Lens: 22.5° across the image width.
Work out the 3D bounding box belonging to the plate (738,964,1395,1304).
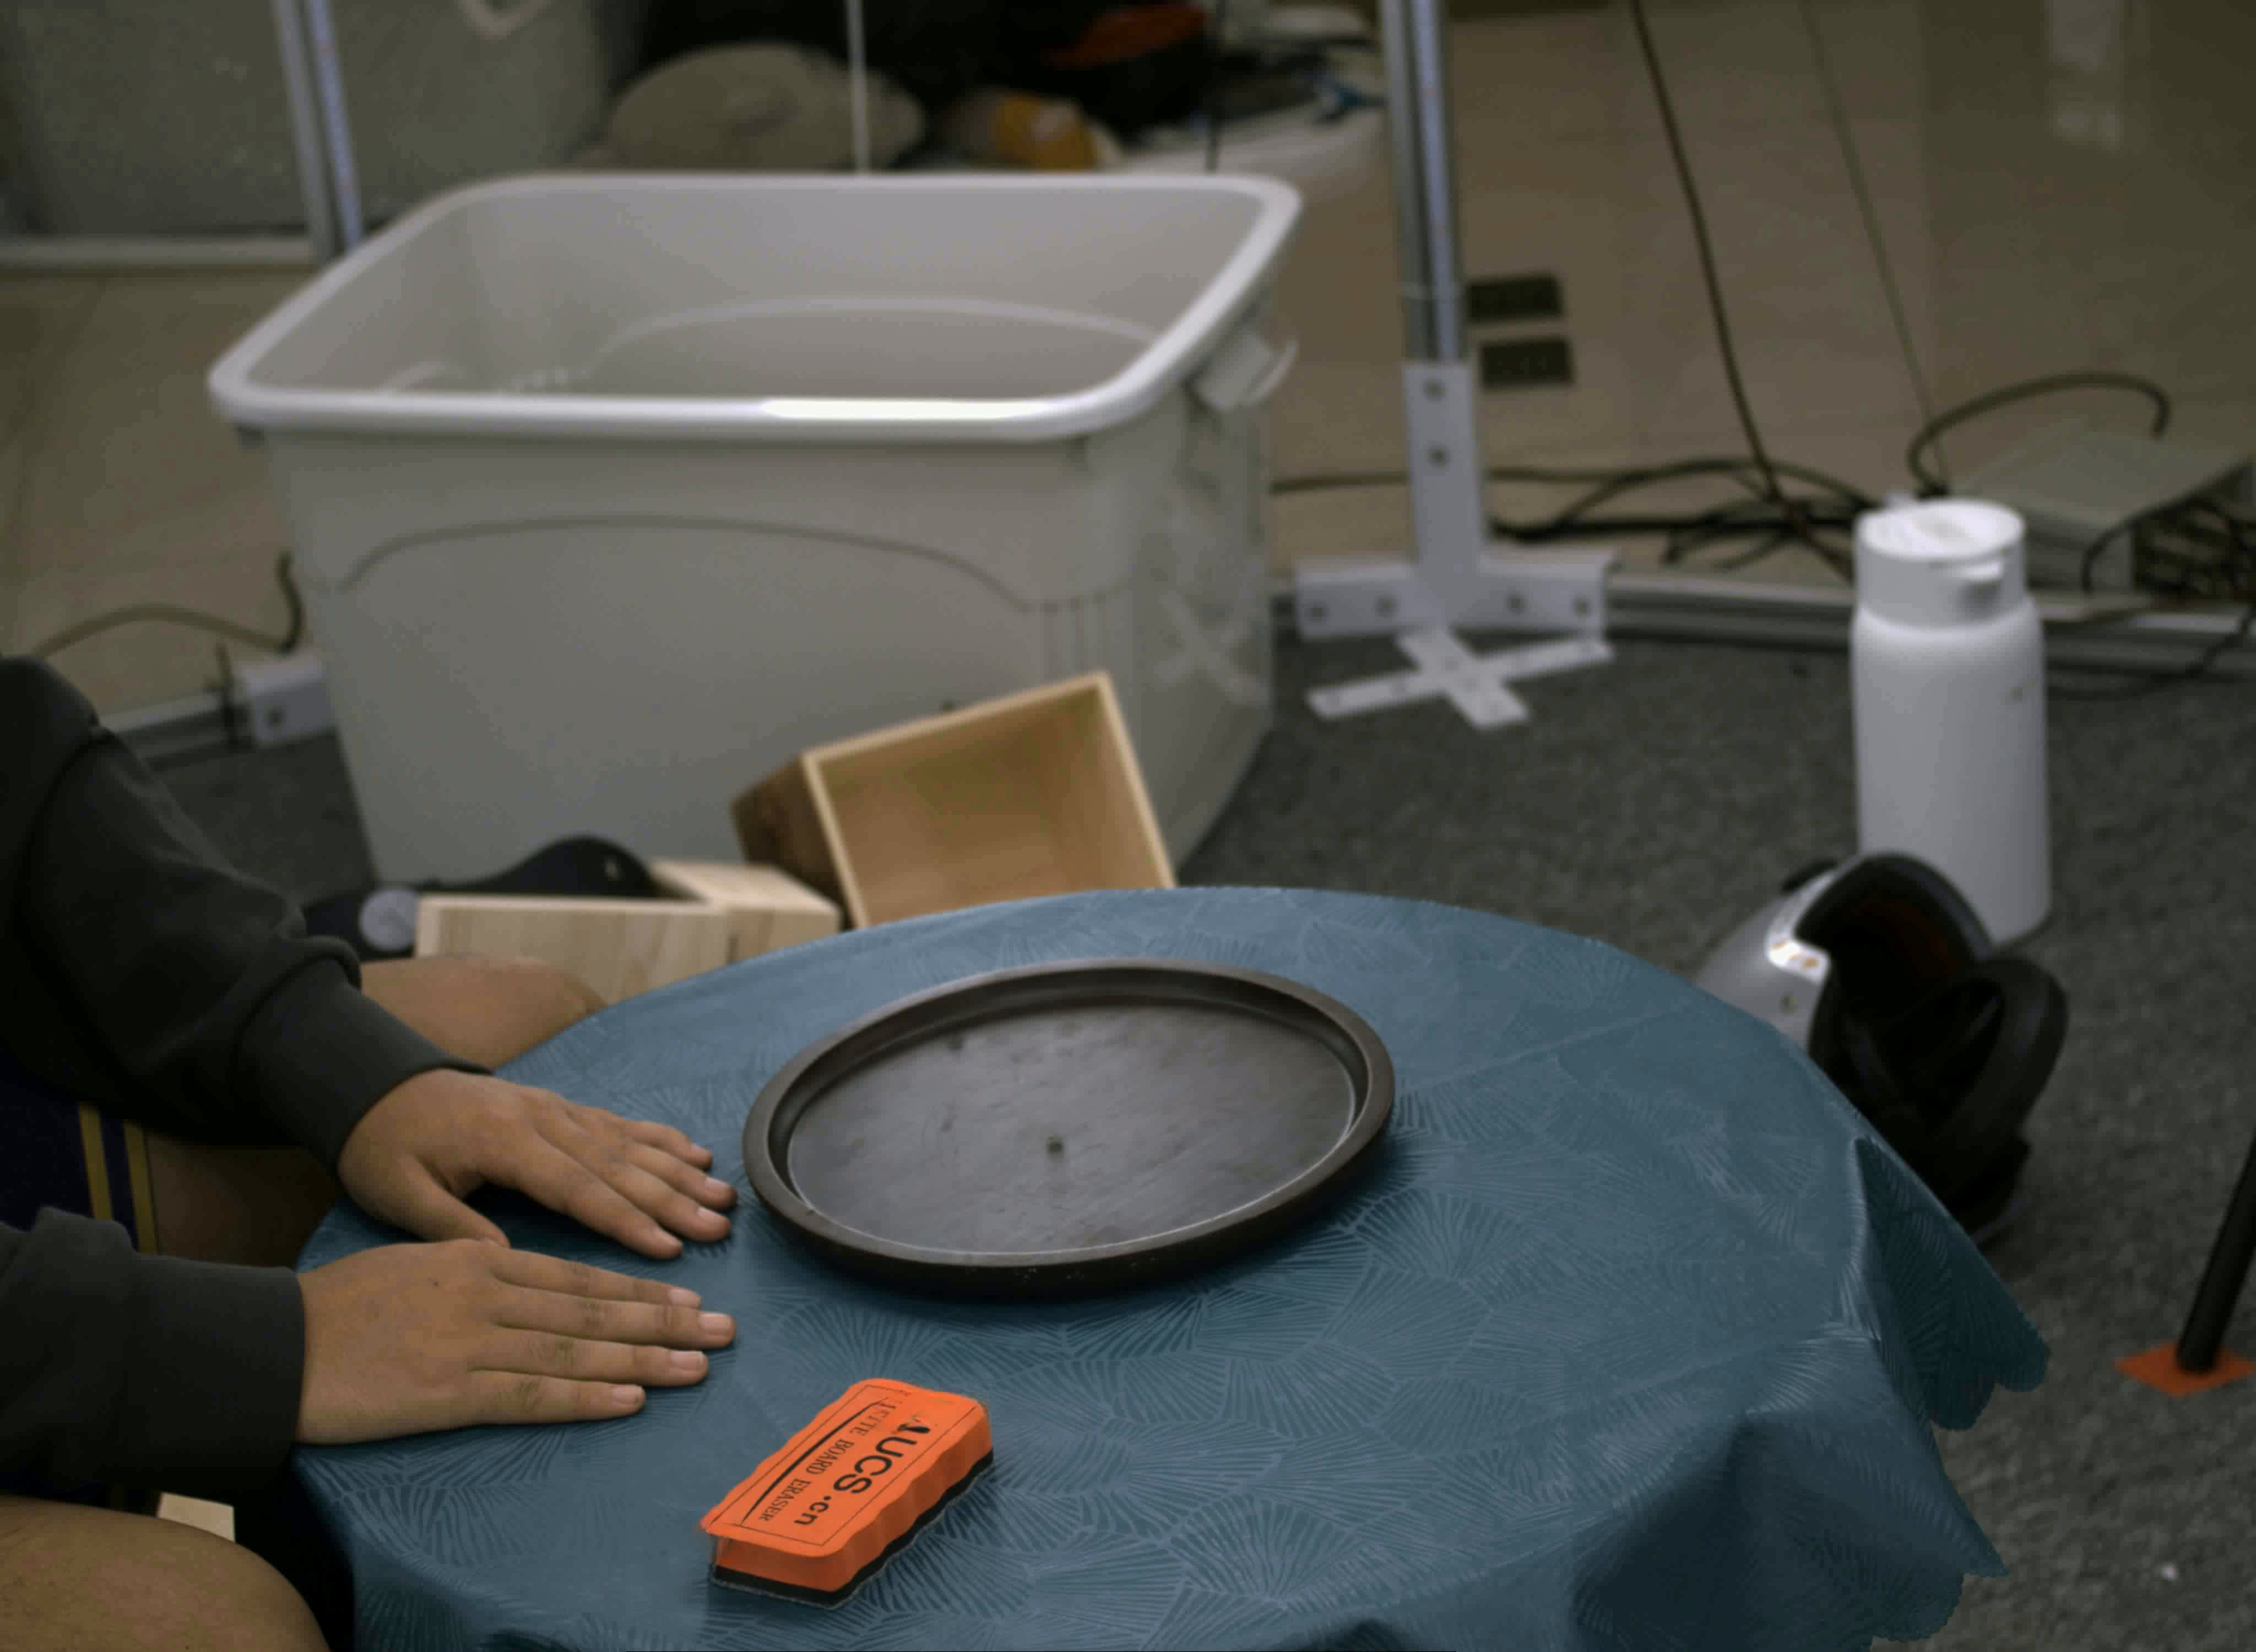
[{"bbox_3d":[-0.023,0.116,2.176,0.254,0.029,0.251,-5,26,3],"label":"plate"}]

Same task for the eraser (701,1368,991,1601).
[{"bbox_3d":[-0.096,0.225,1.949,0.059,0.023,0.107,10,31,30],"label":"eraser"}]
